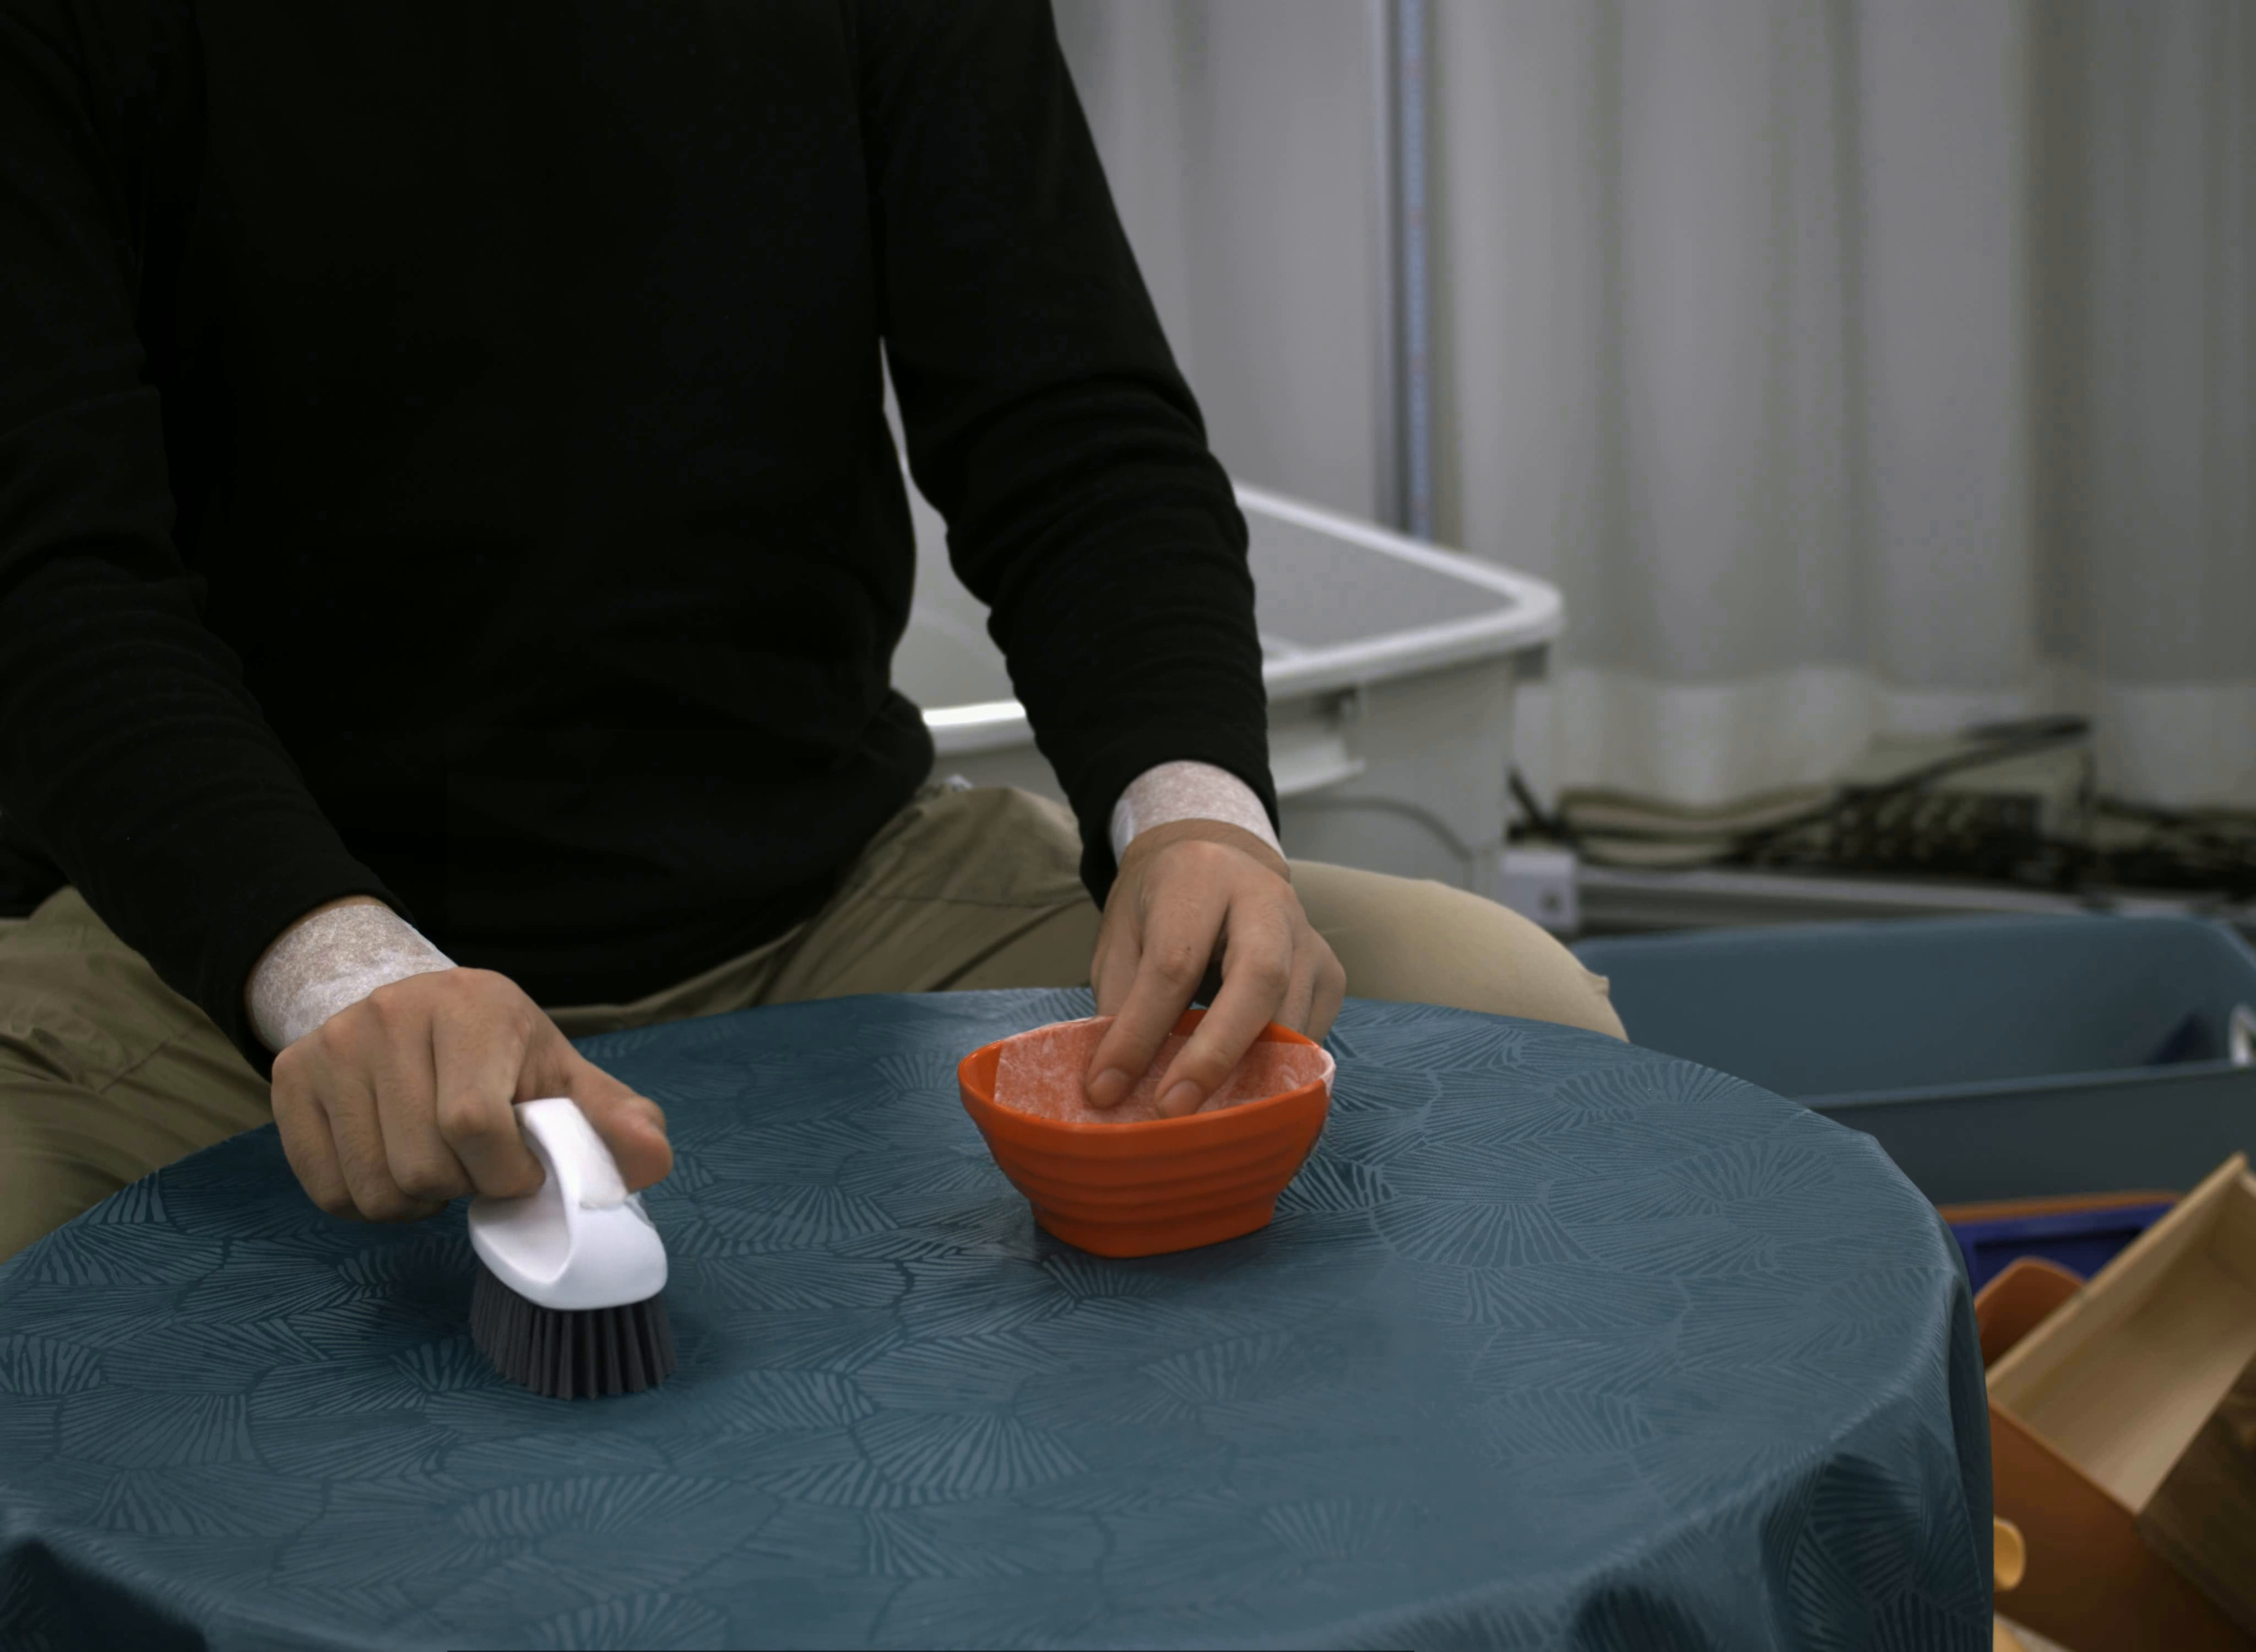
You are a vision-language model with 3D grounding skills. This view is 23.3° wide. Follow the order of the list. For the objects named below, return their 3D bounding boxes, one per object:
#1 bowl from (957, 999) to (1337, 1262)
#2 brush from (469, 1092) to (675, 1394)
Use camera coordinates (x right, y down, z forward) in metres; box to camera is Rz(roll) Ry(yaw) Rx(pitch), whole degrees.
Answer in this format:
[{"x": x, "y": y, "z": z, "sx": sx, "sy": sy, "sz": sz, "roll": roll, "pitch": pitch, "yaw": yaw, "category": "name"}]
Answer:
[{"x": 0.007, "y": 0.096, "z": 1.682, "sx": 0.118, "sy": 0.051, "sz": 0.120, "roll": -3, "pitch": 18, "yaw": 1, "category": "bowl"}, {"x": -0.165, "y": 0.116, "z": 1.596, "sx": 0.050, "sy": 0.072, "sz": 0.100, "roll": -8, "pitch": 15, "yaw": -17, "category": "brush"}]
